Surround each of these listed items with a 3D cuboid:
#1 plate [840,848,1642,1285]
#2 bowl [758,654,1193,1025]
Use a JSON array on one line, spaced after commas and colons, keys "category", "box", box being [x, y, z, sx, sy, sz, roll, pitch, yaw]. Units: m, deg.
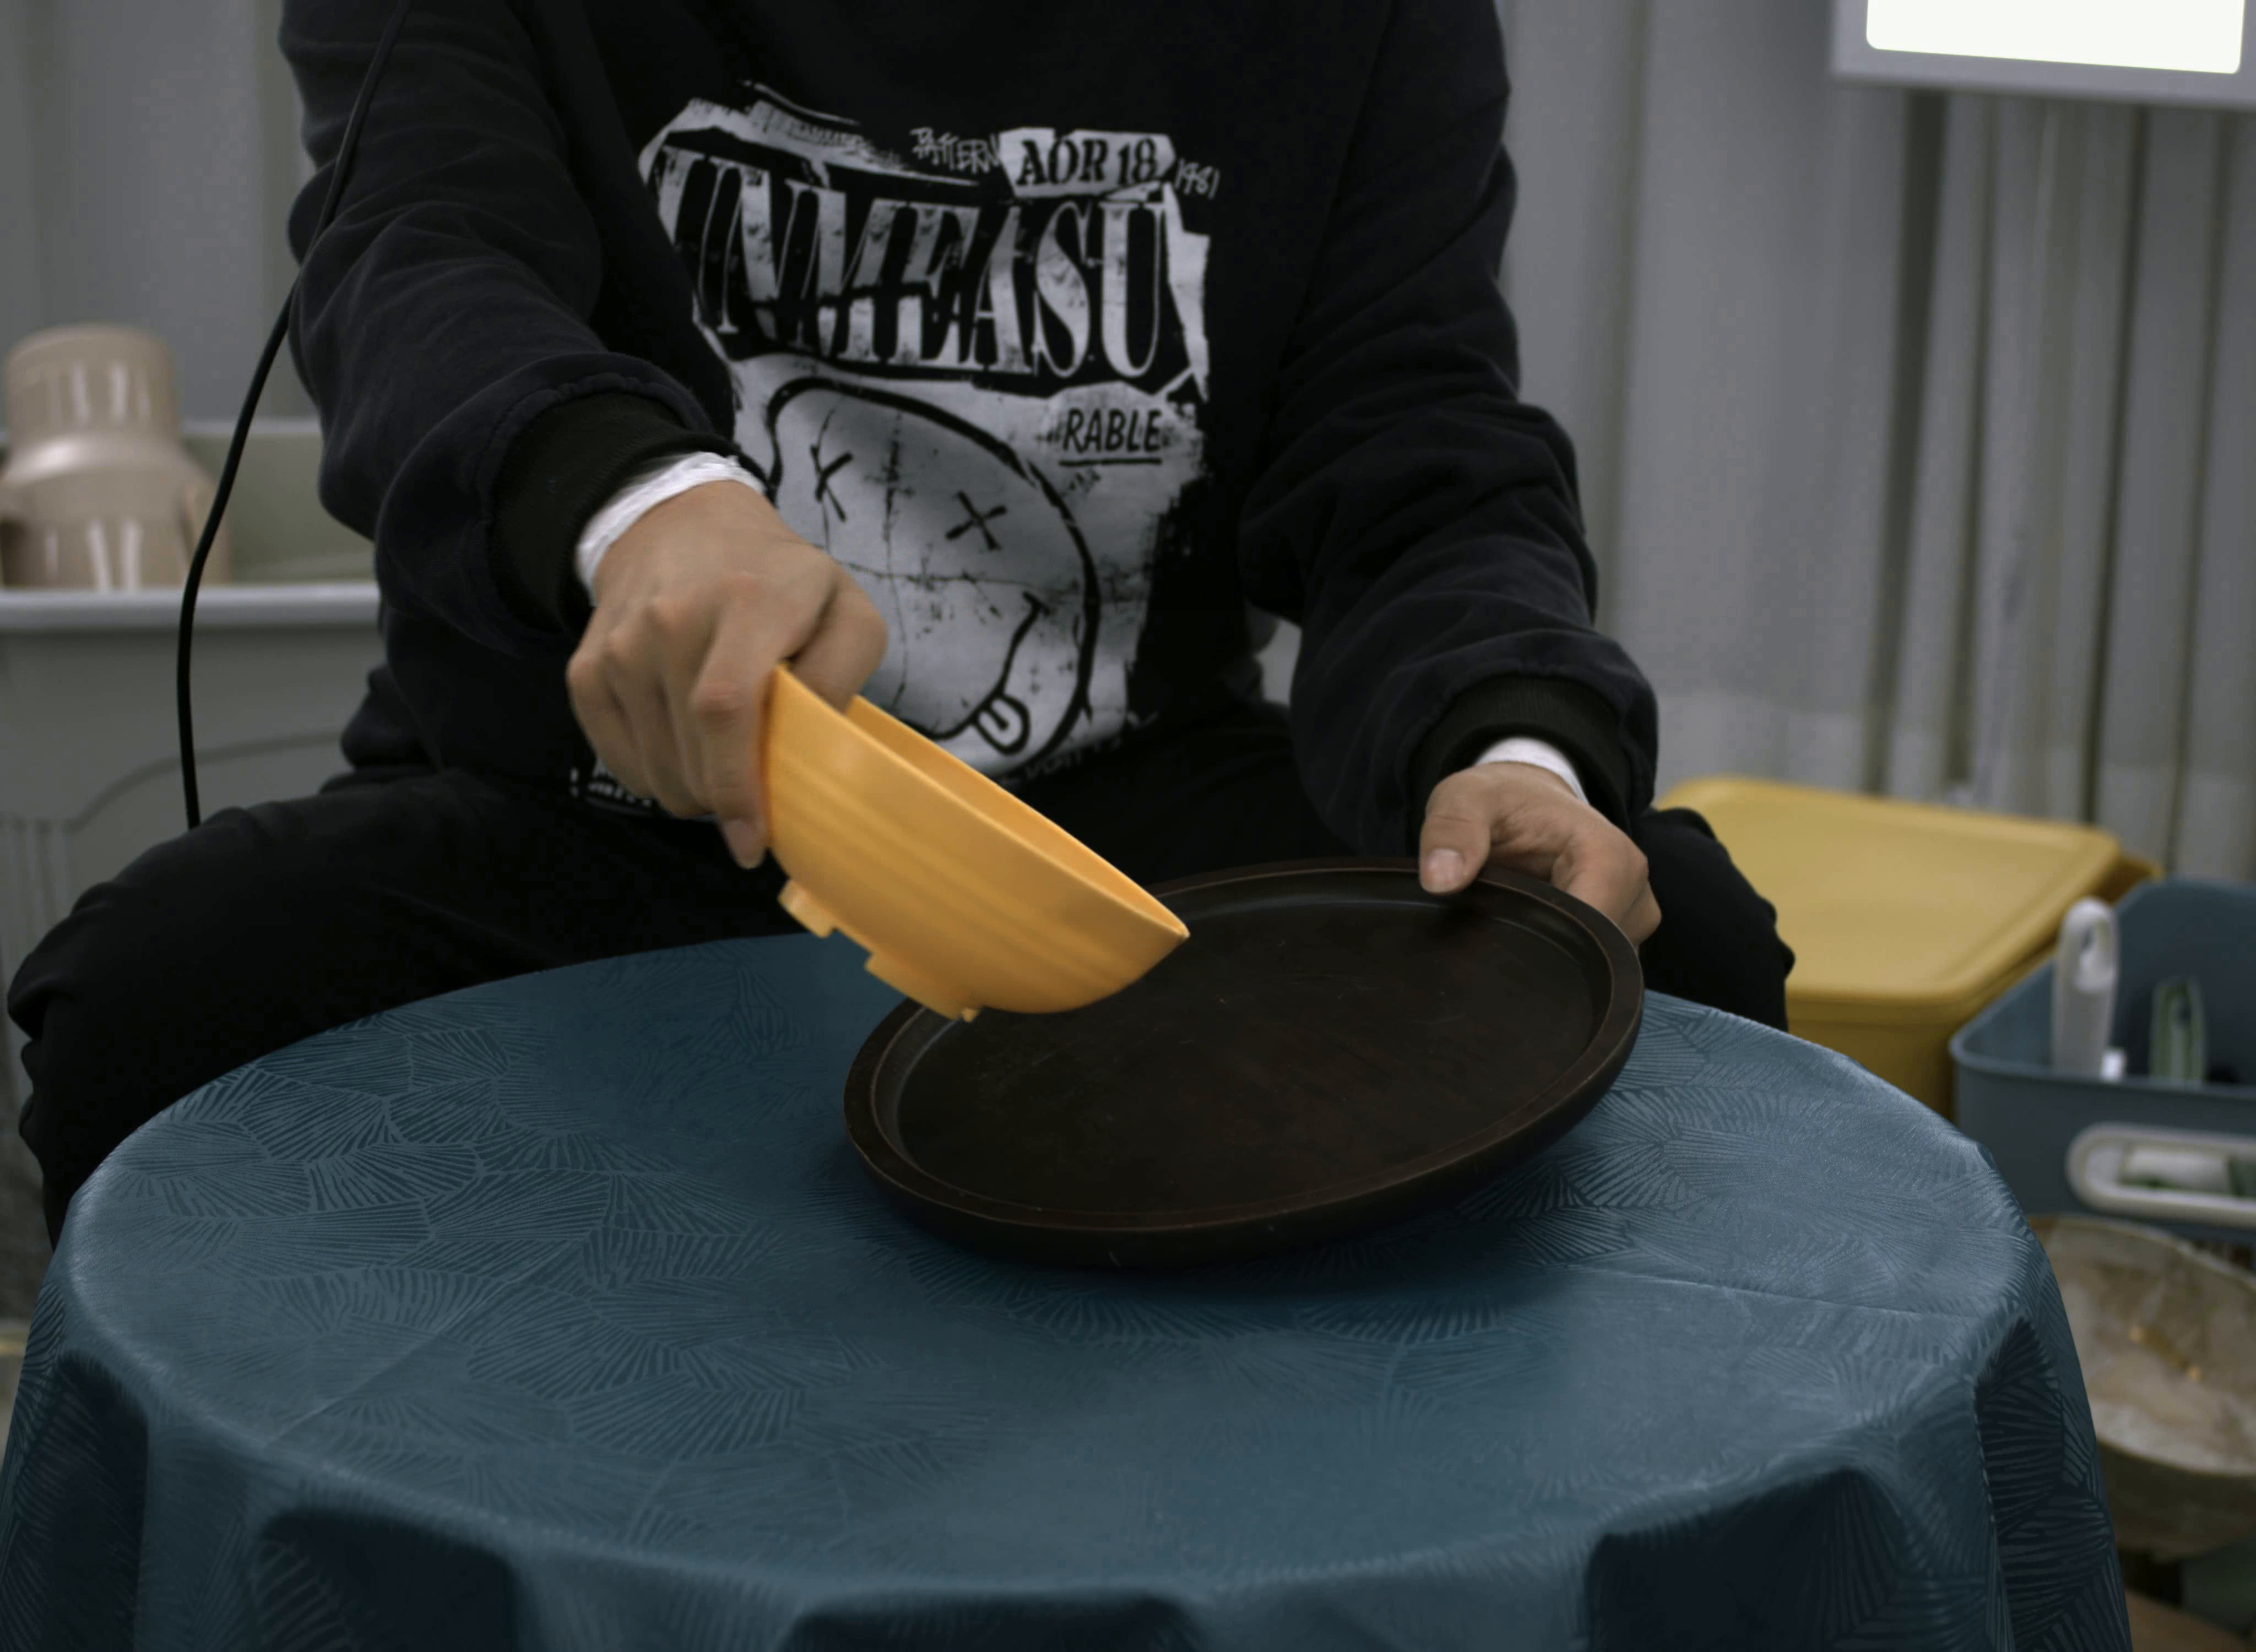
[{"category": "plate", "box": [0.036, 0.072, 1.639, 0.253, 0.029, 0.253, -10, 24, 5]}, {"category": "bowl", "box": [-0.056, 0.015, 1.519, 0.145, 0.060, 0.145, 35, 1, 0]}]
